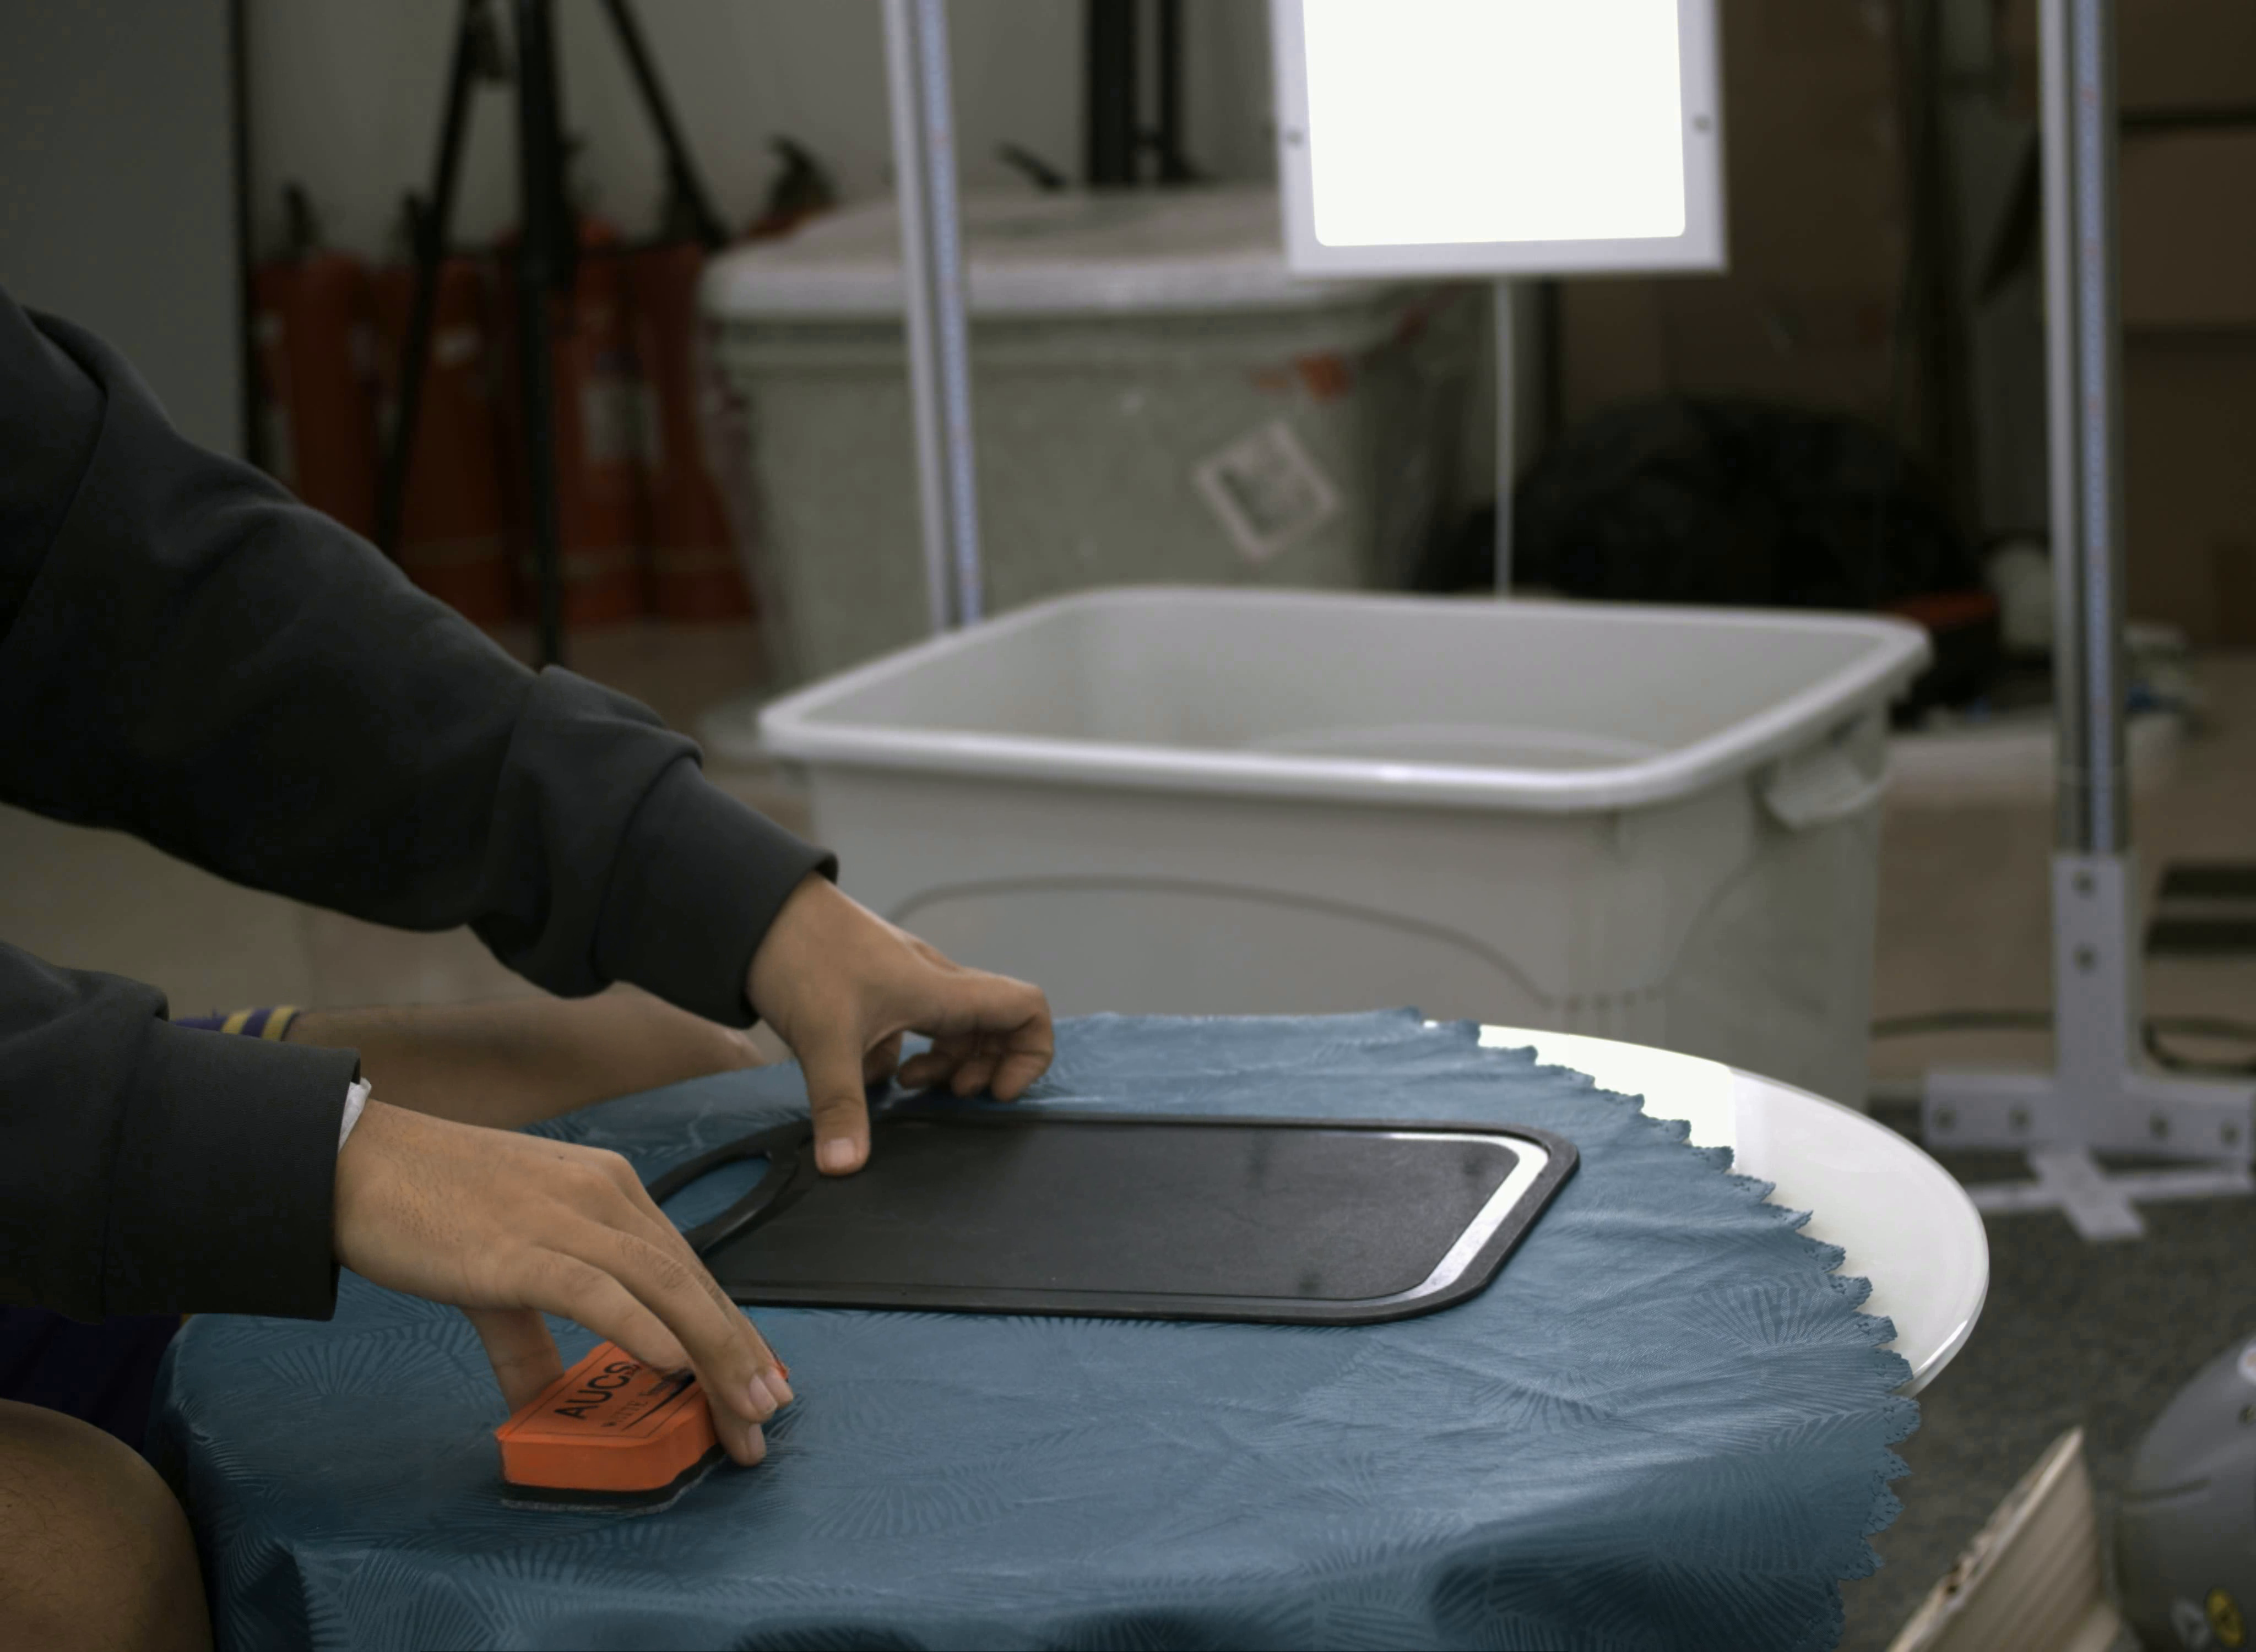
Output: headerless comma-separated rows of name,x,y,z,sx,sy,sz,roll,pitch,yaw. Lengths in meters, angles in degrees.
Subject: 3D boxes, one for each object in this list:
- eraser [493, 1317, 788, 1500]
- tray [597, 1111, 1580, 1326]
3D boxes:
eraser,-0.148,0.177,1.684,0.060,0.023,0.106,0,13,20
tray,-0.019,0.130,1.878,0.330,0.010,0.207,0,14,21
